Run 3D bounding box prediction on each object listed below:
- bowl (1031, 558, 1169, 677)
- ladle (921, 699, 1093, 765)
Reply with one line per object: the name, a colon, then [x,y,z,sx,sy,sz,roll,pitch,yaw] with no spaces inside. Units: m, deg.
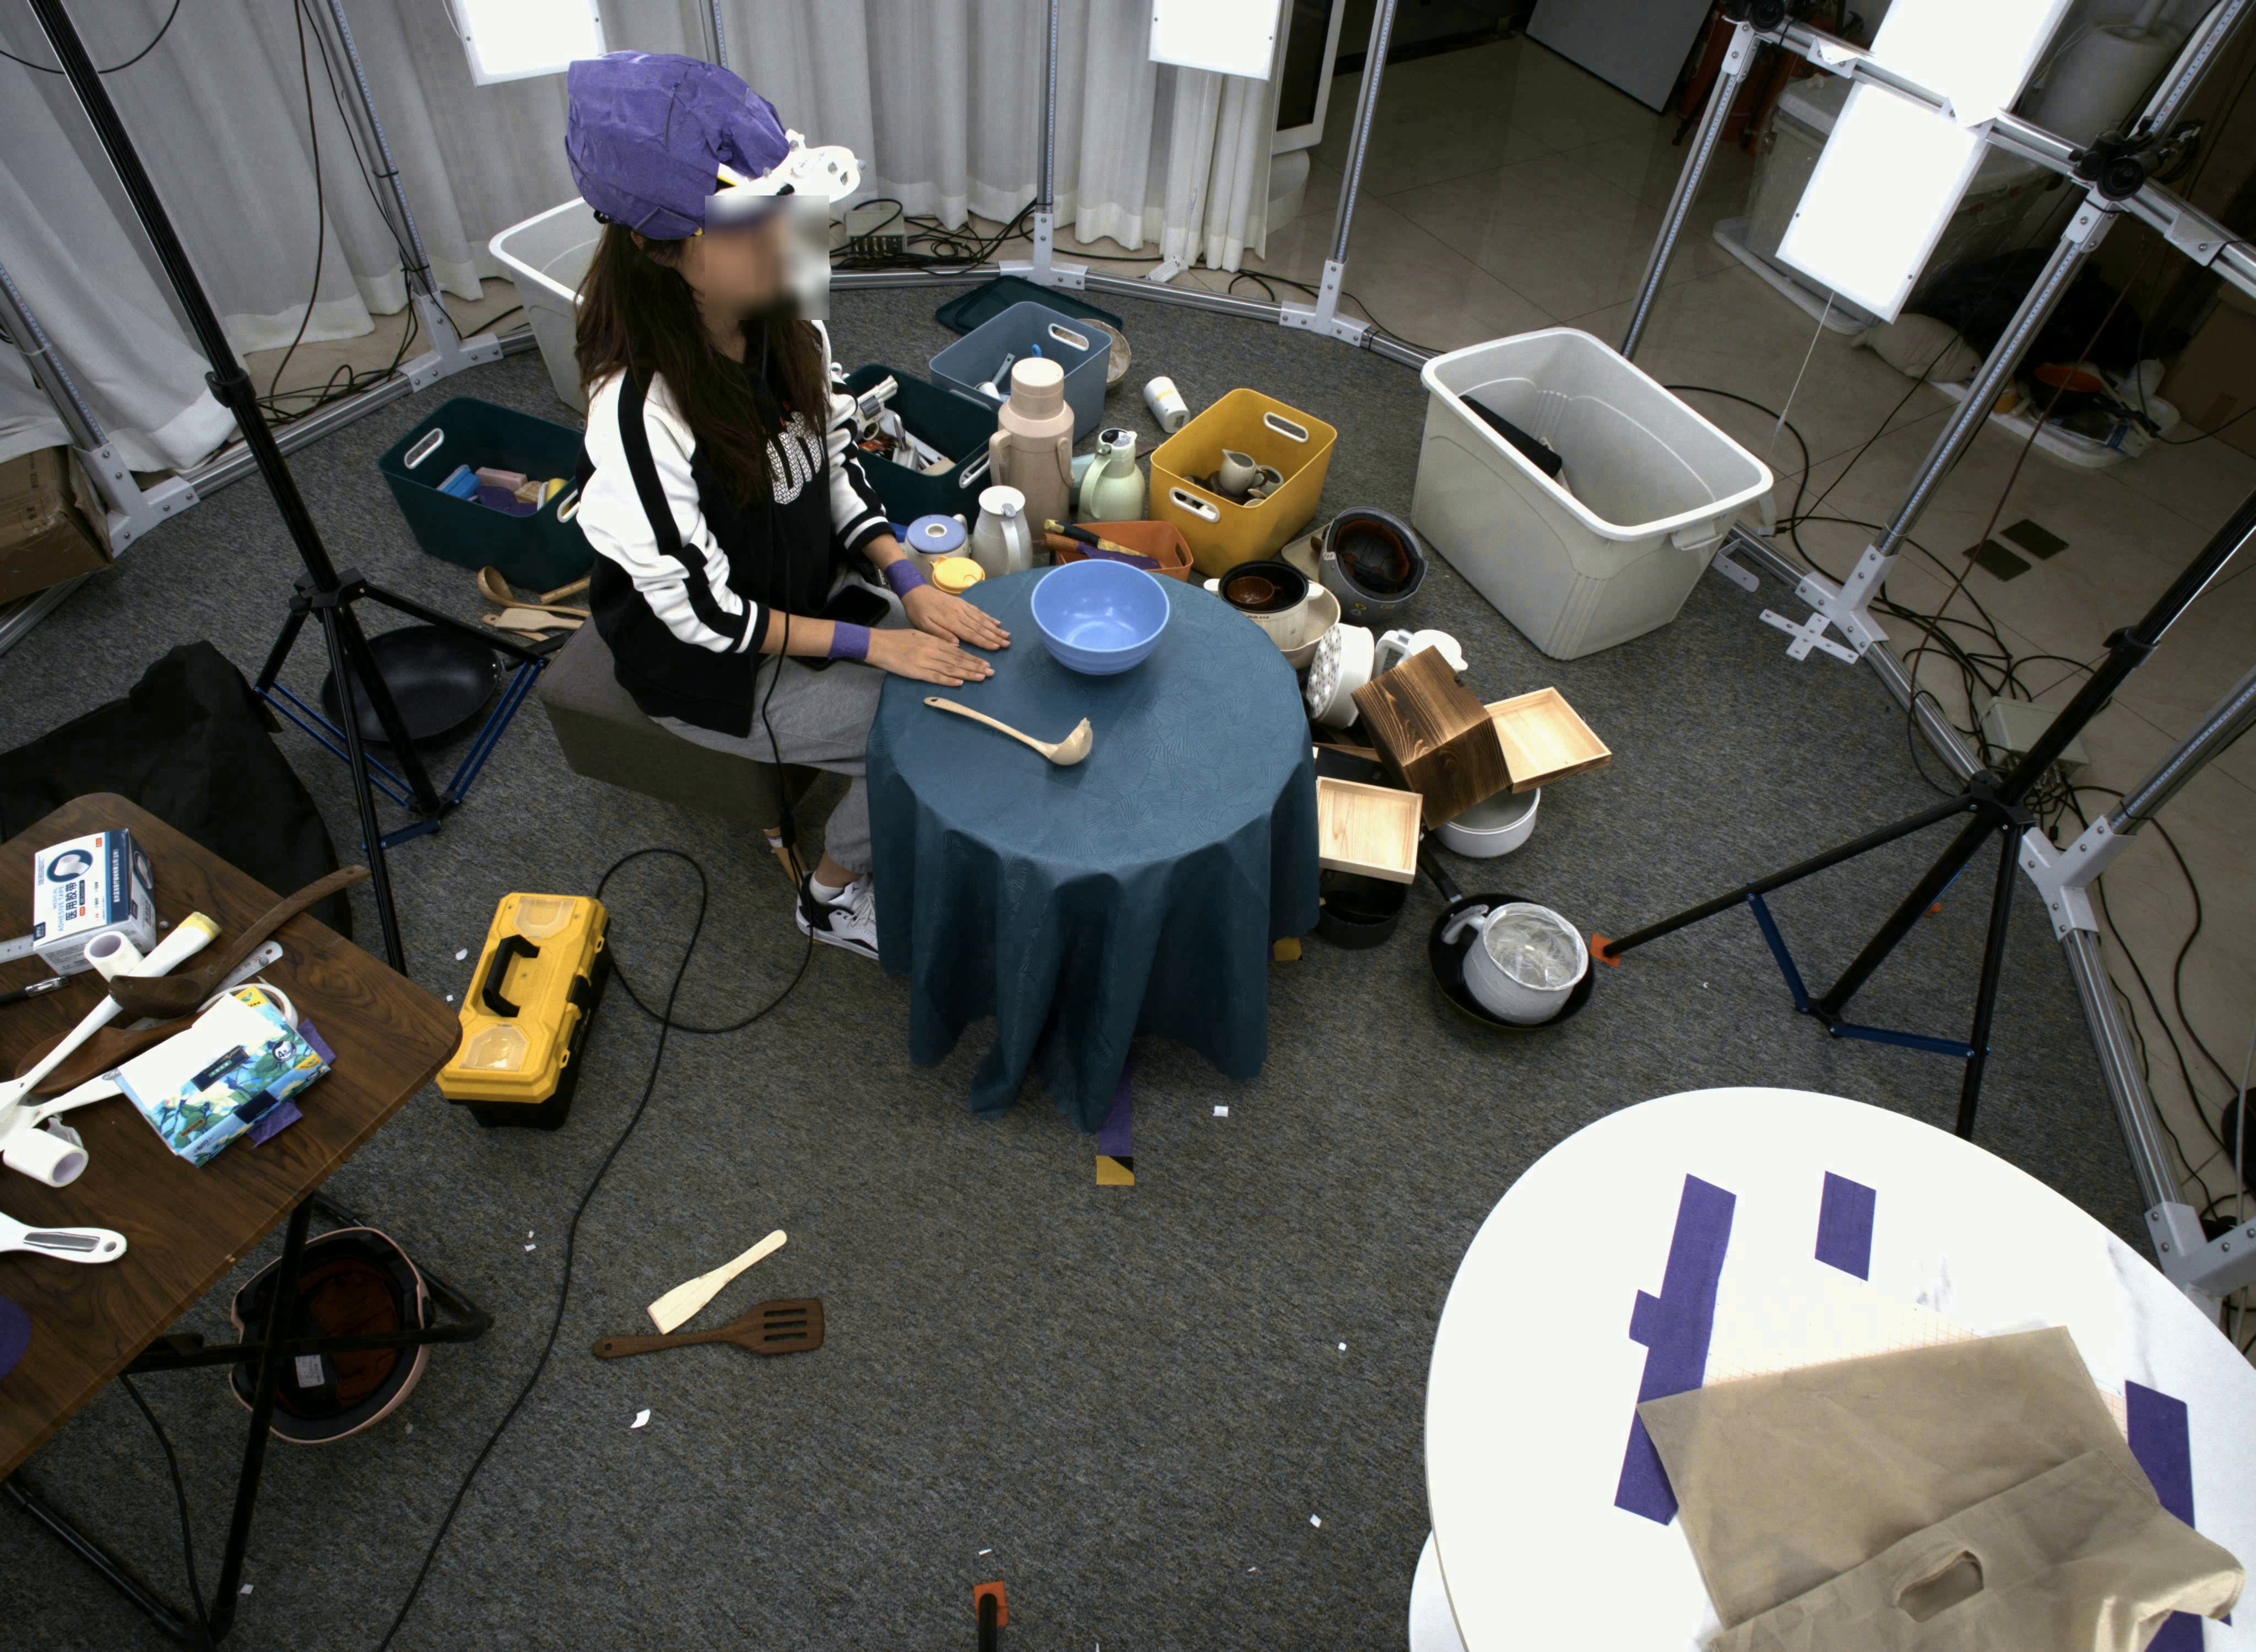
bowl: [-0.042,-0.285,1.855,0.196,0.093,0.201,2,51,-3]
ladle: [-0.169,-0.153,1.744,0.256,0.071,0.073,22,44,14]
